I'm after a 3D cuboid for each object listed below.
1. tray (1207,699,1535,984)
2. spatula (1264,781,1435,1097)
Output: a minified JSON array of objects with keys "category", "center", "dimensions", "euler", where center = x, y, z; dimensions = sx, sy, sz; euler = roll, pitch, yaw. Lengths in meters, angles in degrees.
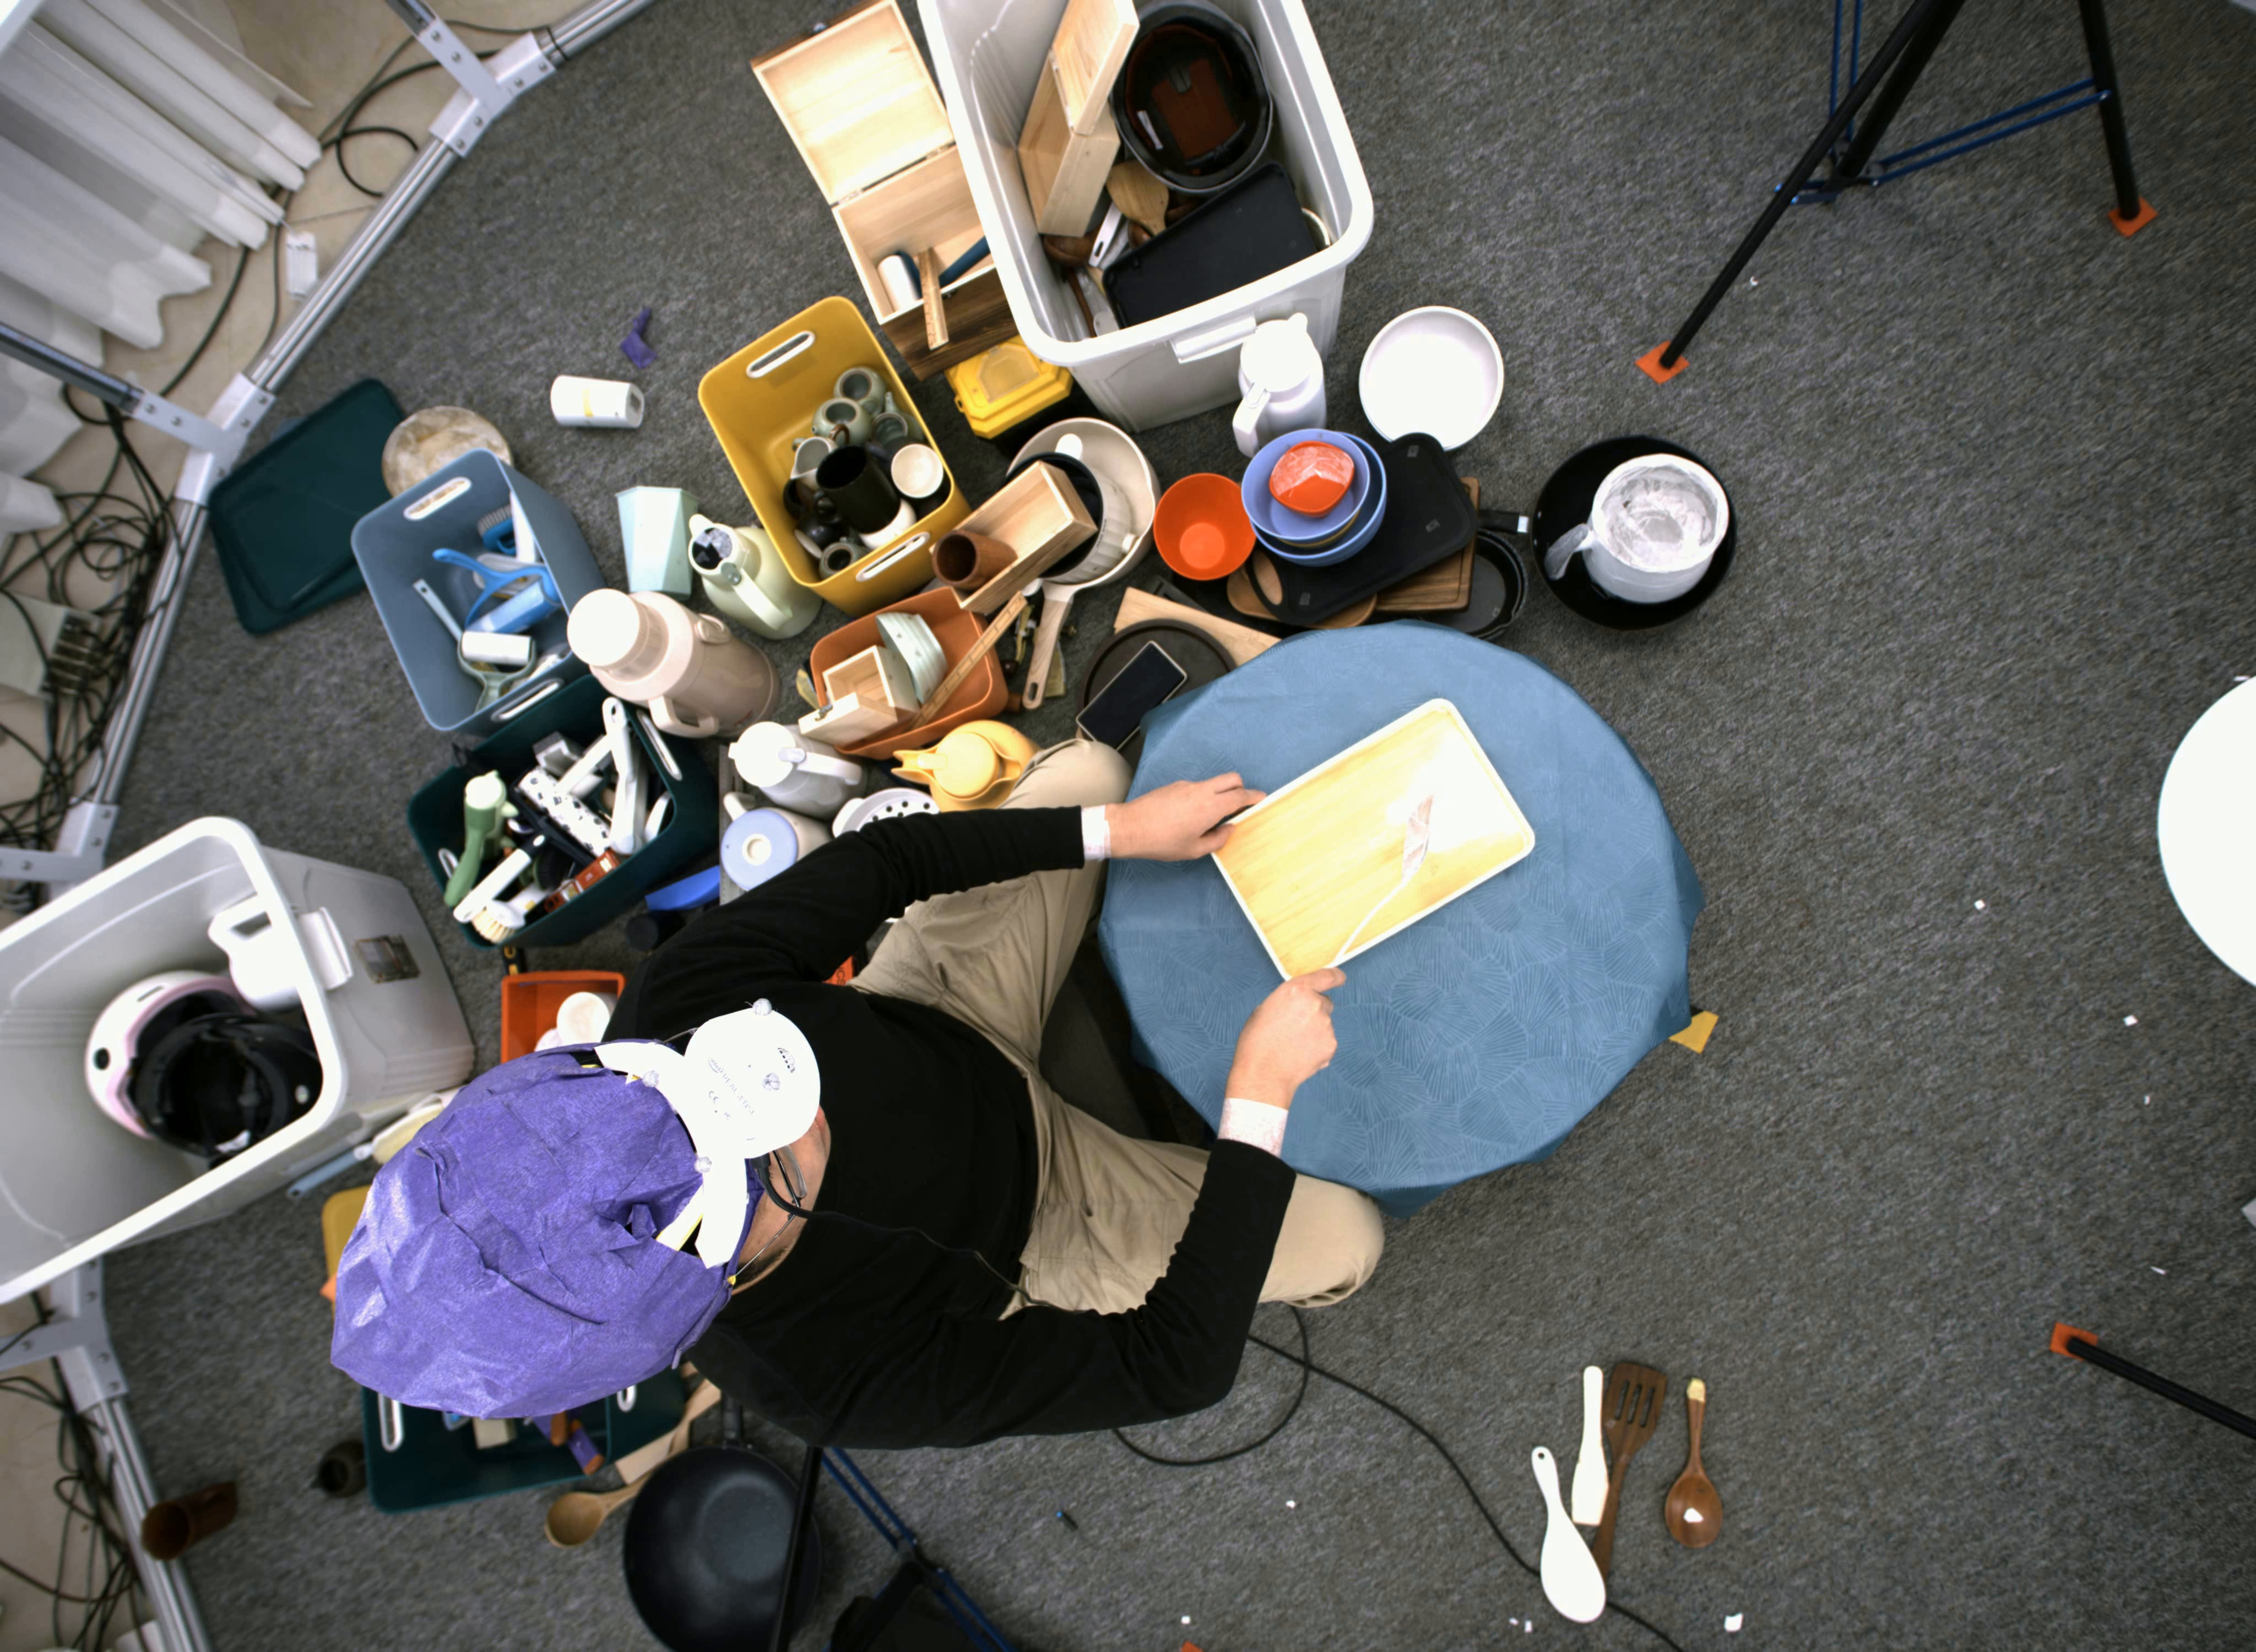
[{"category":"tray","center":[0.253,0.015,1.453],"dimensions":[0.302,0.027,0.190],"euler":[-31,82,8]},{"category":"spatula","center":[0.217,0.105,1.352],"dimensions":[0.044,0.100,0.359],"euler":[36,70,8]}]
